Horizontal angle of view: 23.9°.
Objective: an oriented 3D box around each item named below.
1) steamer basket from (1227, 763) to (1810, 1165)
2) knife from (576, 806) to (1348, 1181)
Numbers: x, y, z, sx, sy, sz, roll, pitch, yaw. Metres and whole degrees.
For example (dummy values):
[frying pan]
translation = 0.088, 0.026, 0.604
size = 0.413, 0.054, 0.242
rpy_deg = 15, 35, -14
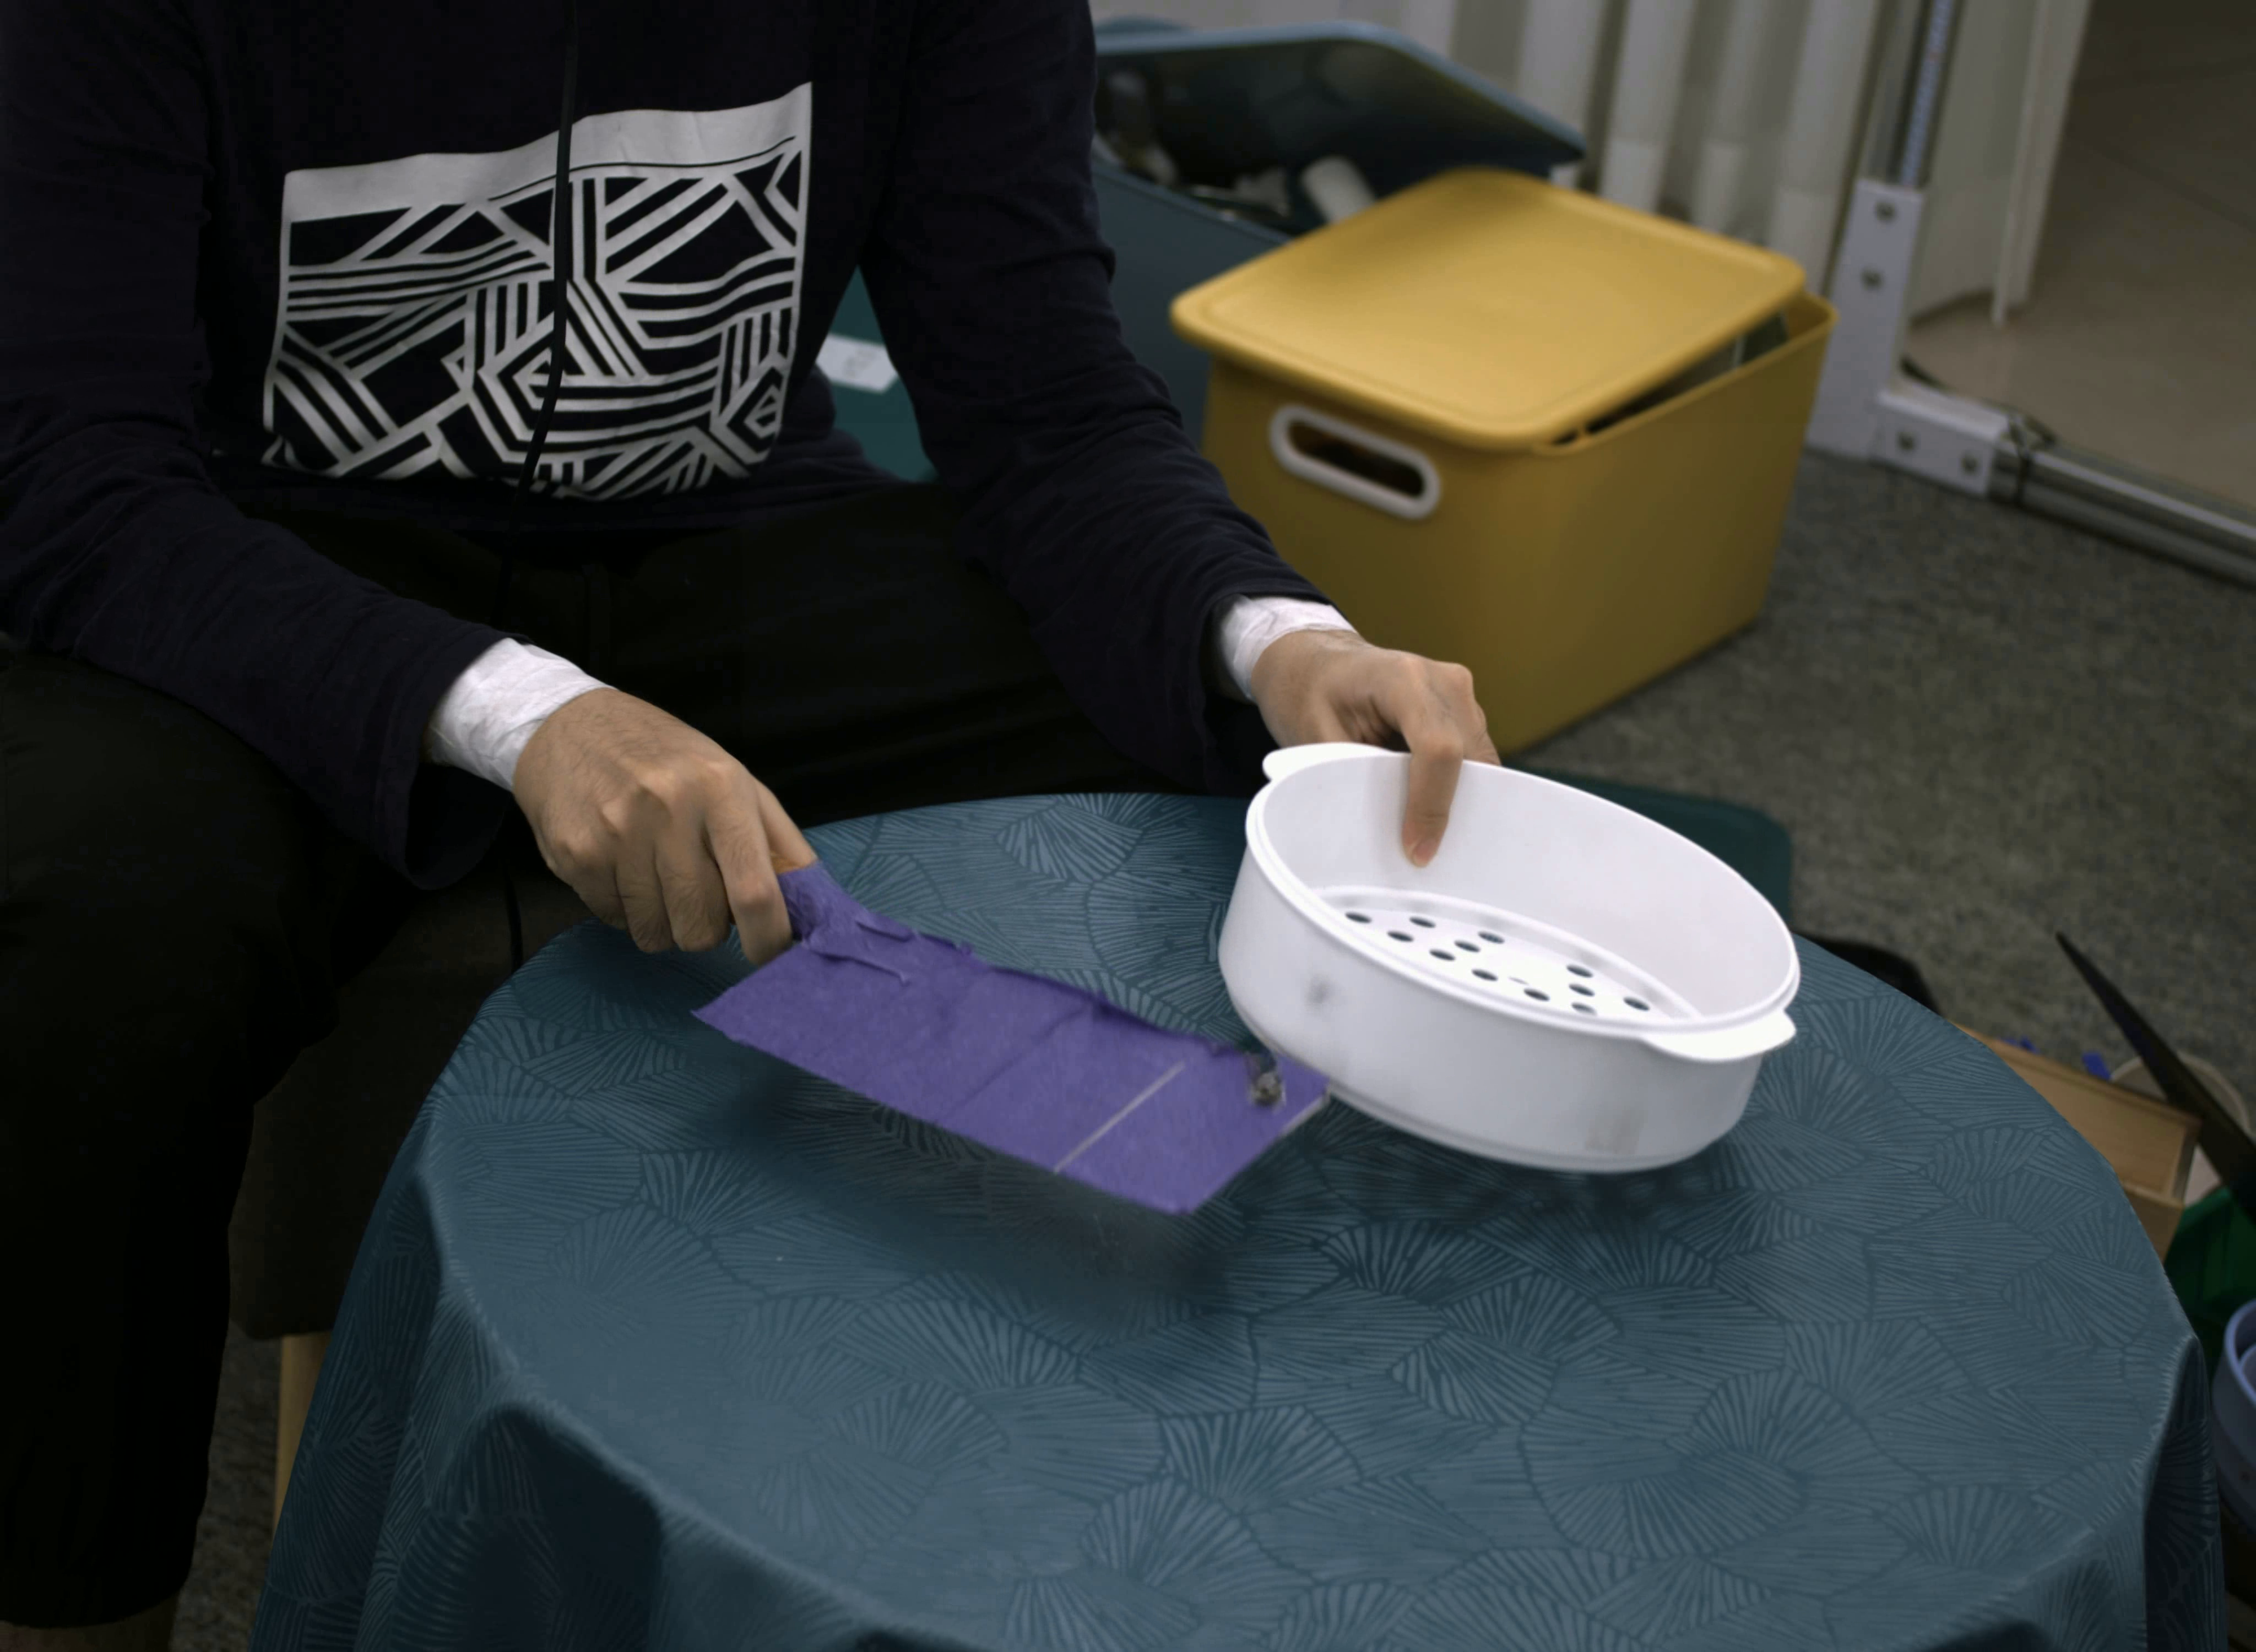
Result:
[steamer basket]
translation = 0.133, 0.049, 1.856
size = 0.200, 0.069, 0.232
rpy_deg = -5, 27, -43
[knife]
translation = -0.081, 0.055, 1.812
size = 0.317, 0.032, 0.103
rpy_deg = 16, 34, 33
